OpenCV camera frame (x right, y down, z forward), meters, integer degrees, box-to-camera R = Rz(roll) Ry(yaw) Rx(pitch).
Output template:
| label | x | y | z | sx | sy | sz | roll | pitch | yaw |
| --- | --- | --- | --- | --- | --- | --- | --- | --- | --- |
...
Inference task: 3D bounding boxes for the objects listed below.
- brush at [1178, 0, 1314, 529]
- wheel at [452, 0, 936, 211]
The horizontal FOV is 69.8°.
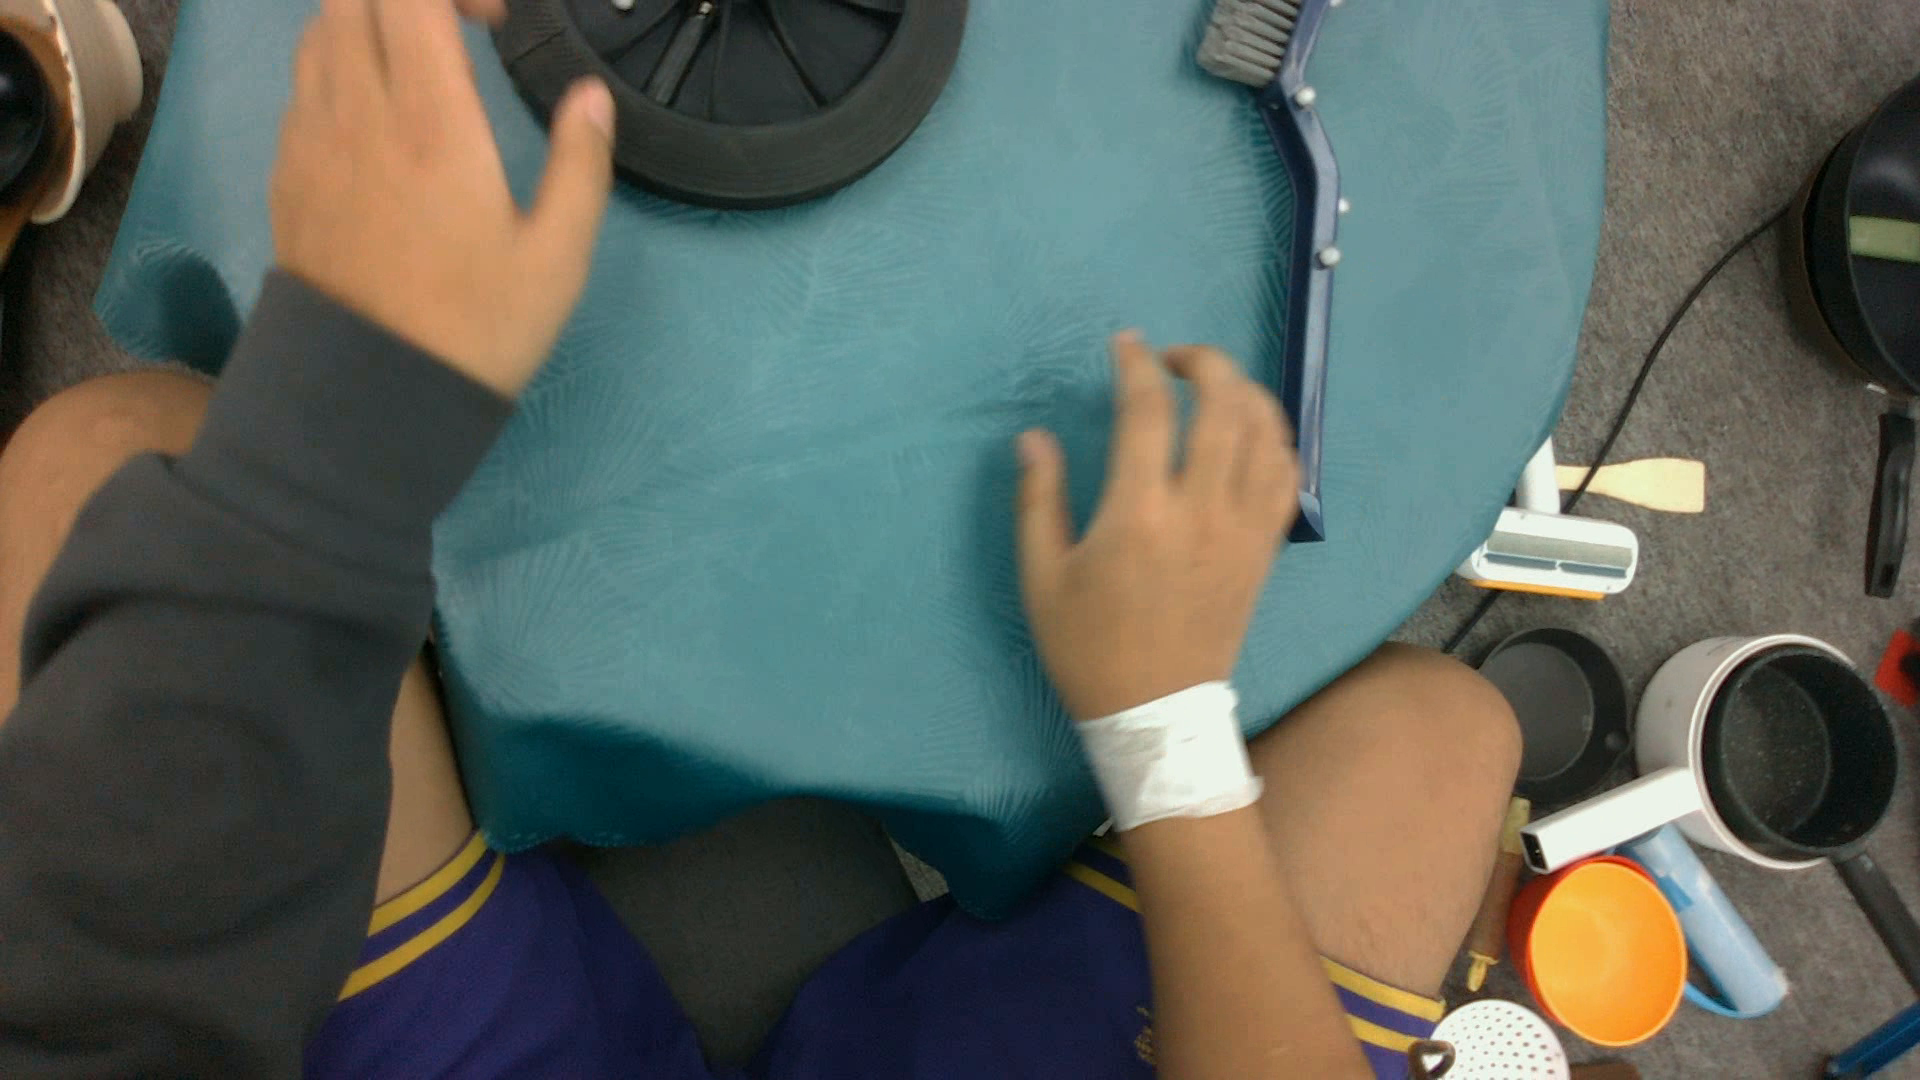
| label | x | y | z | sx | sy | sz | roll | pitch | yaw |
| --- | --- | --- | --- | --- | --- | --- | --- | --- | --- |
| brush | 0.147 | -0.143 | 0.593 | 0.096 | 0.033 | 0.273 | -5 | 88 | -14 |
| wheel | -0.096 | -0.224 | 0.514 | 0.187 | 0.079 | 0.190 | 3 | 88 | -15 |
